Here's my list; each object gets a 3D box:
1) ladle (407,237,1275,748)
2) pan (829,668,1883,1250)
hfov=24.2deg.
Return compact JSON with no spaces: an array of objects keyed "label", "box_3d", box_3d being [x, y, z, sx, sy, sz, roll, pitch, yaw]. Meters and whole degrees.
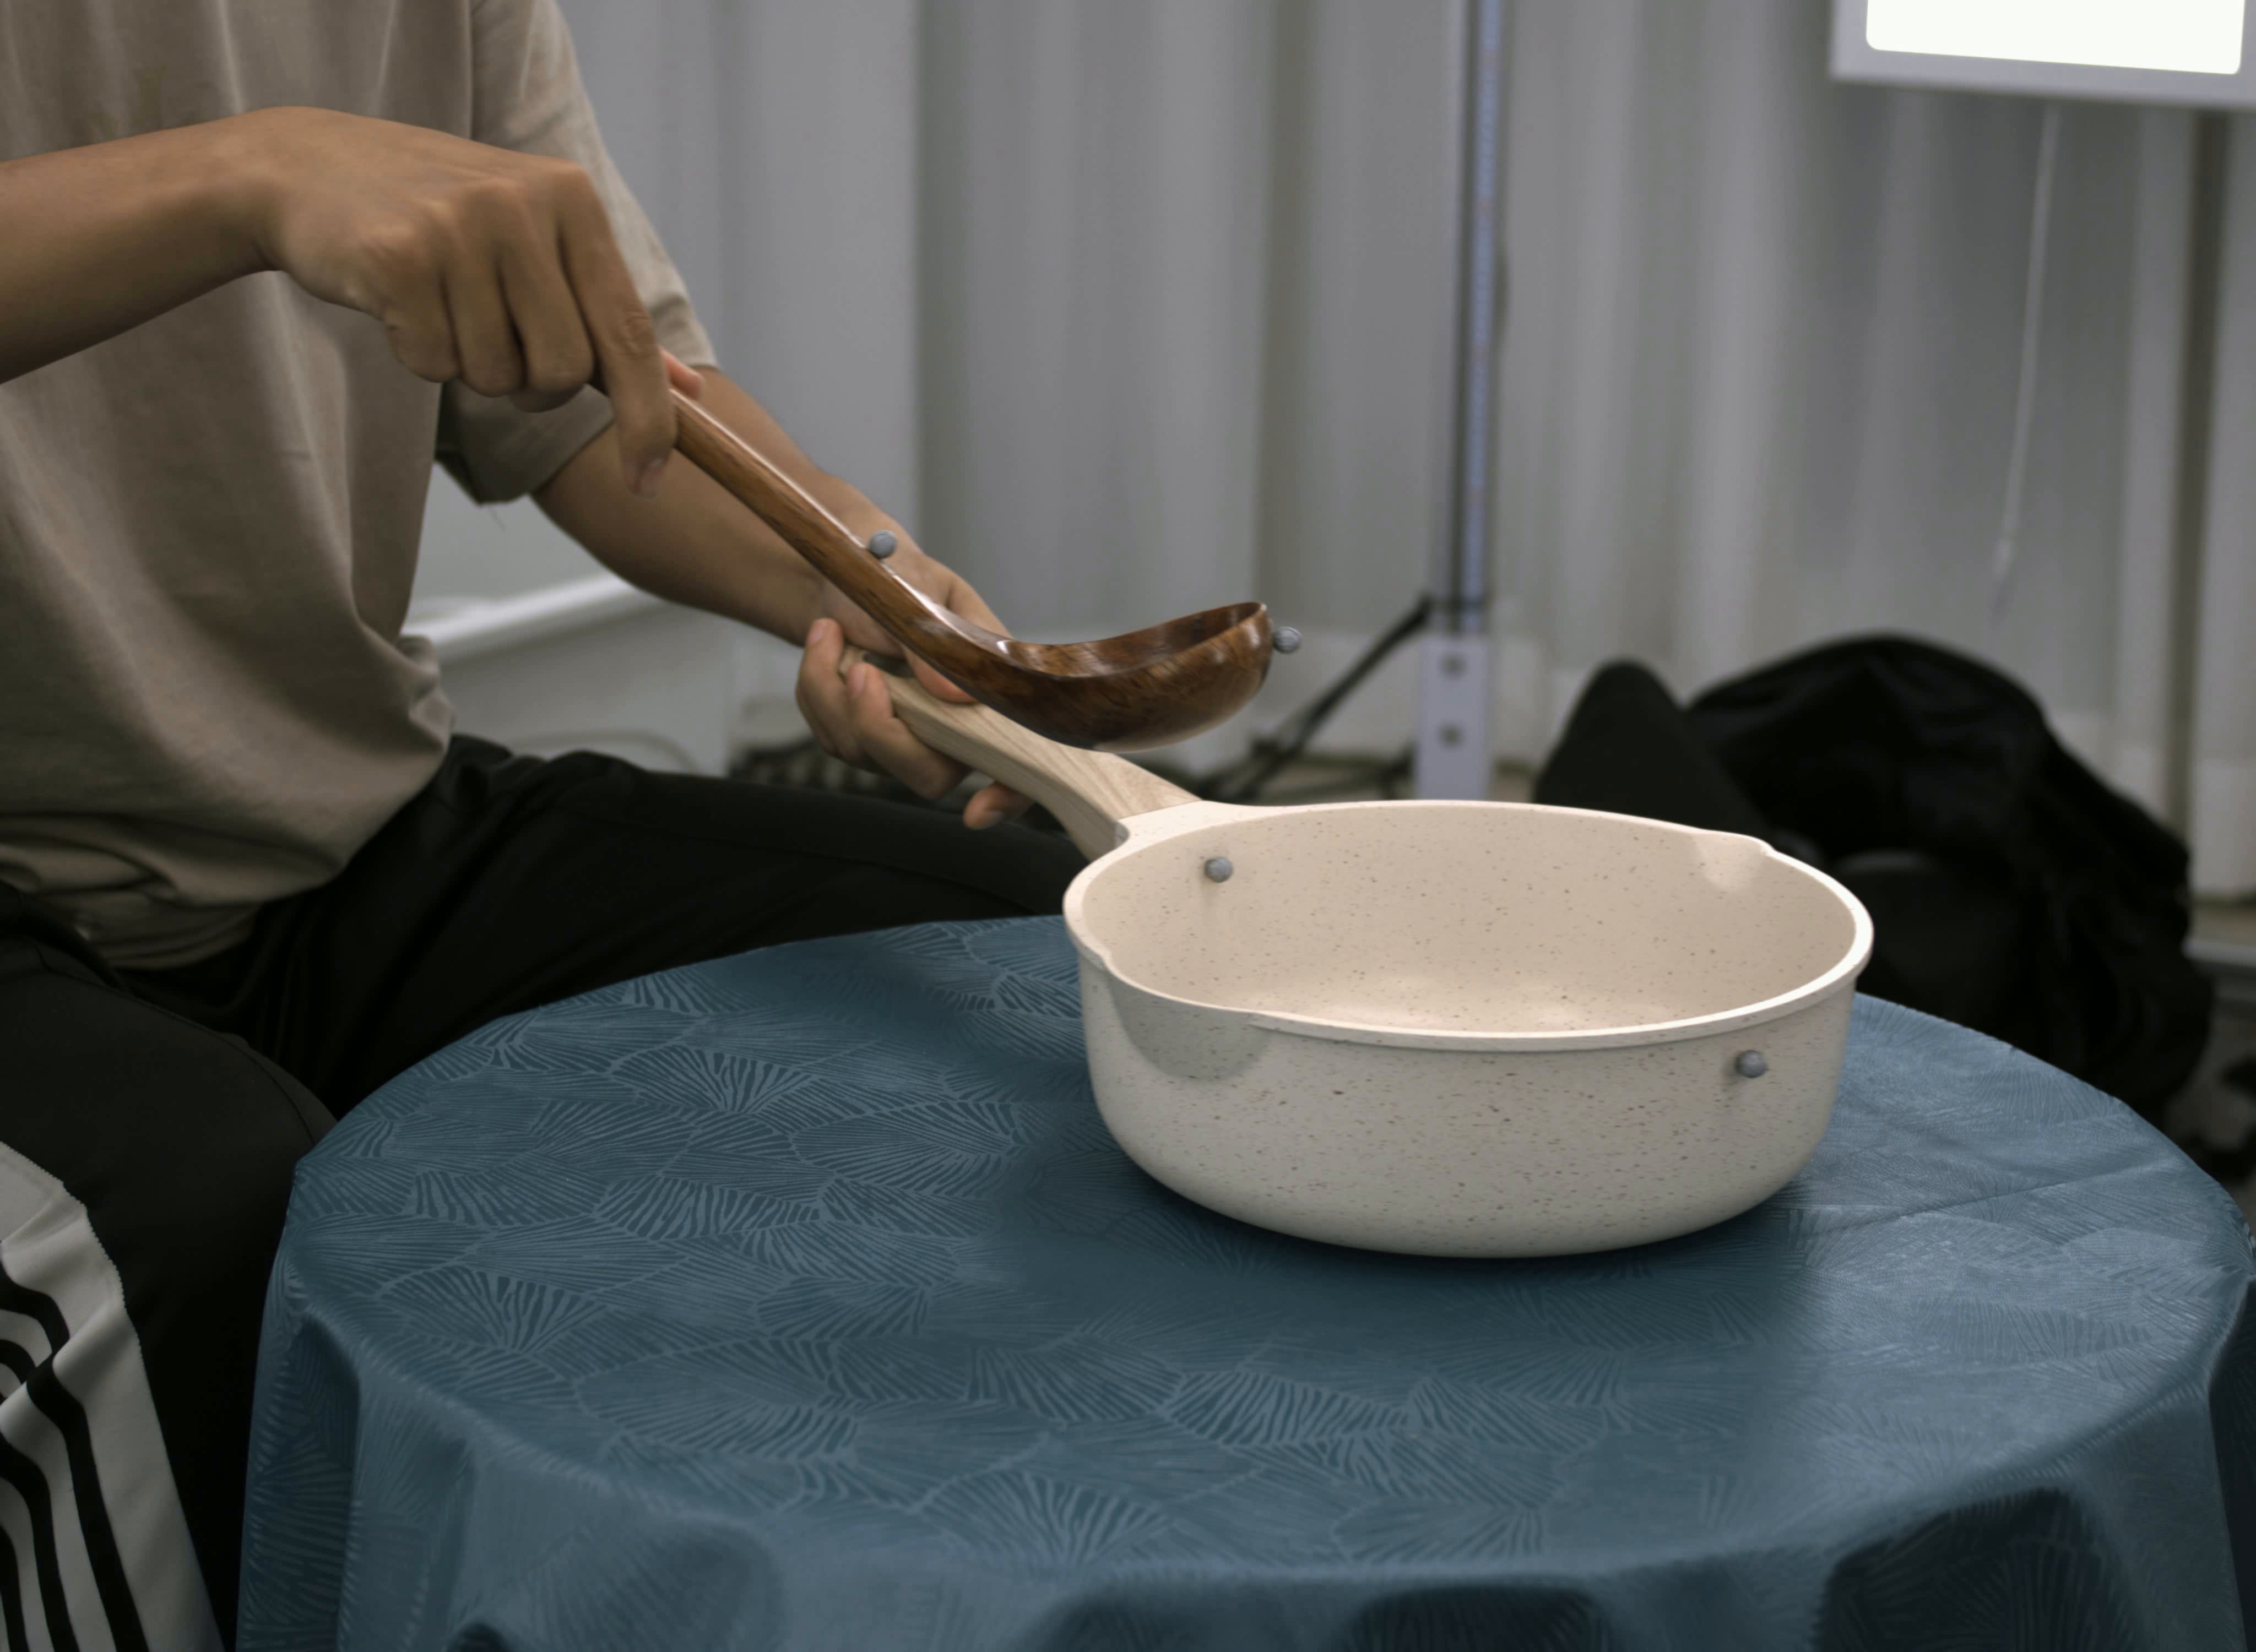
[{"label":"ladle","box_3d":[-0.080,-0.112,1.539,0.274,0.076,0.081,37,3,-5]},{"label":"pan","box_3d":[0.049,0.036,1.715,0.264,0.103,0.429,-15,22,-40]}]
